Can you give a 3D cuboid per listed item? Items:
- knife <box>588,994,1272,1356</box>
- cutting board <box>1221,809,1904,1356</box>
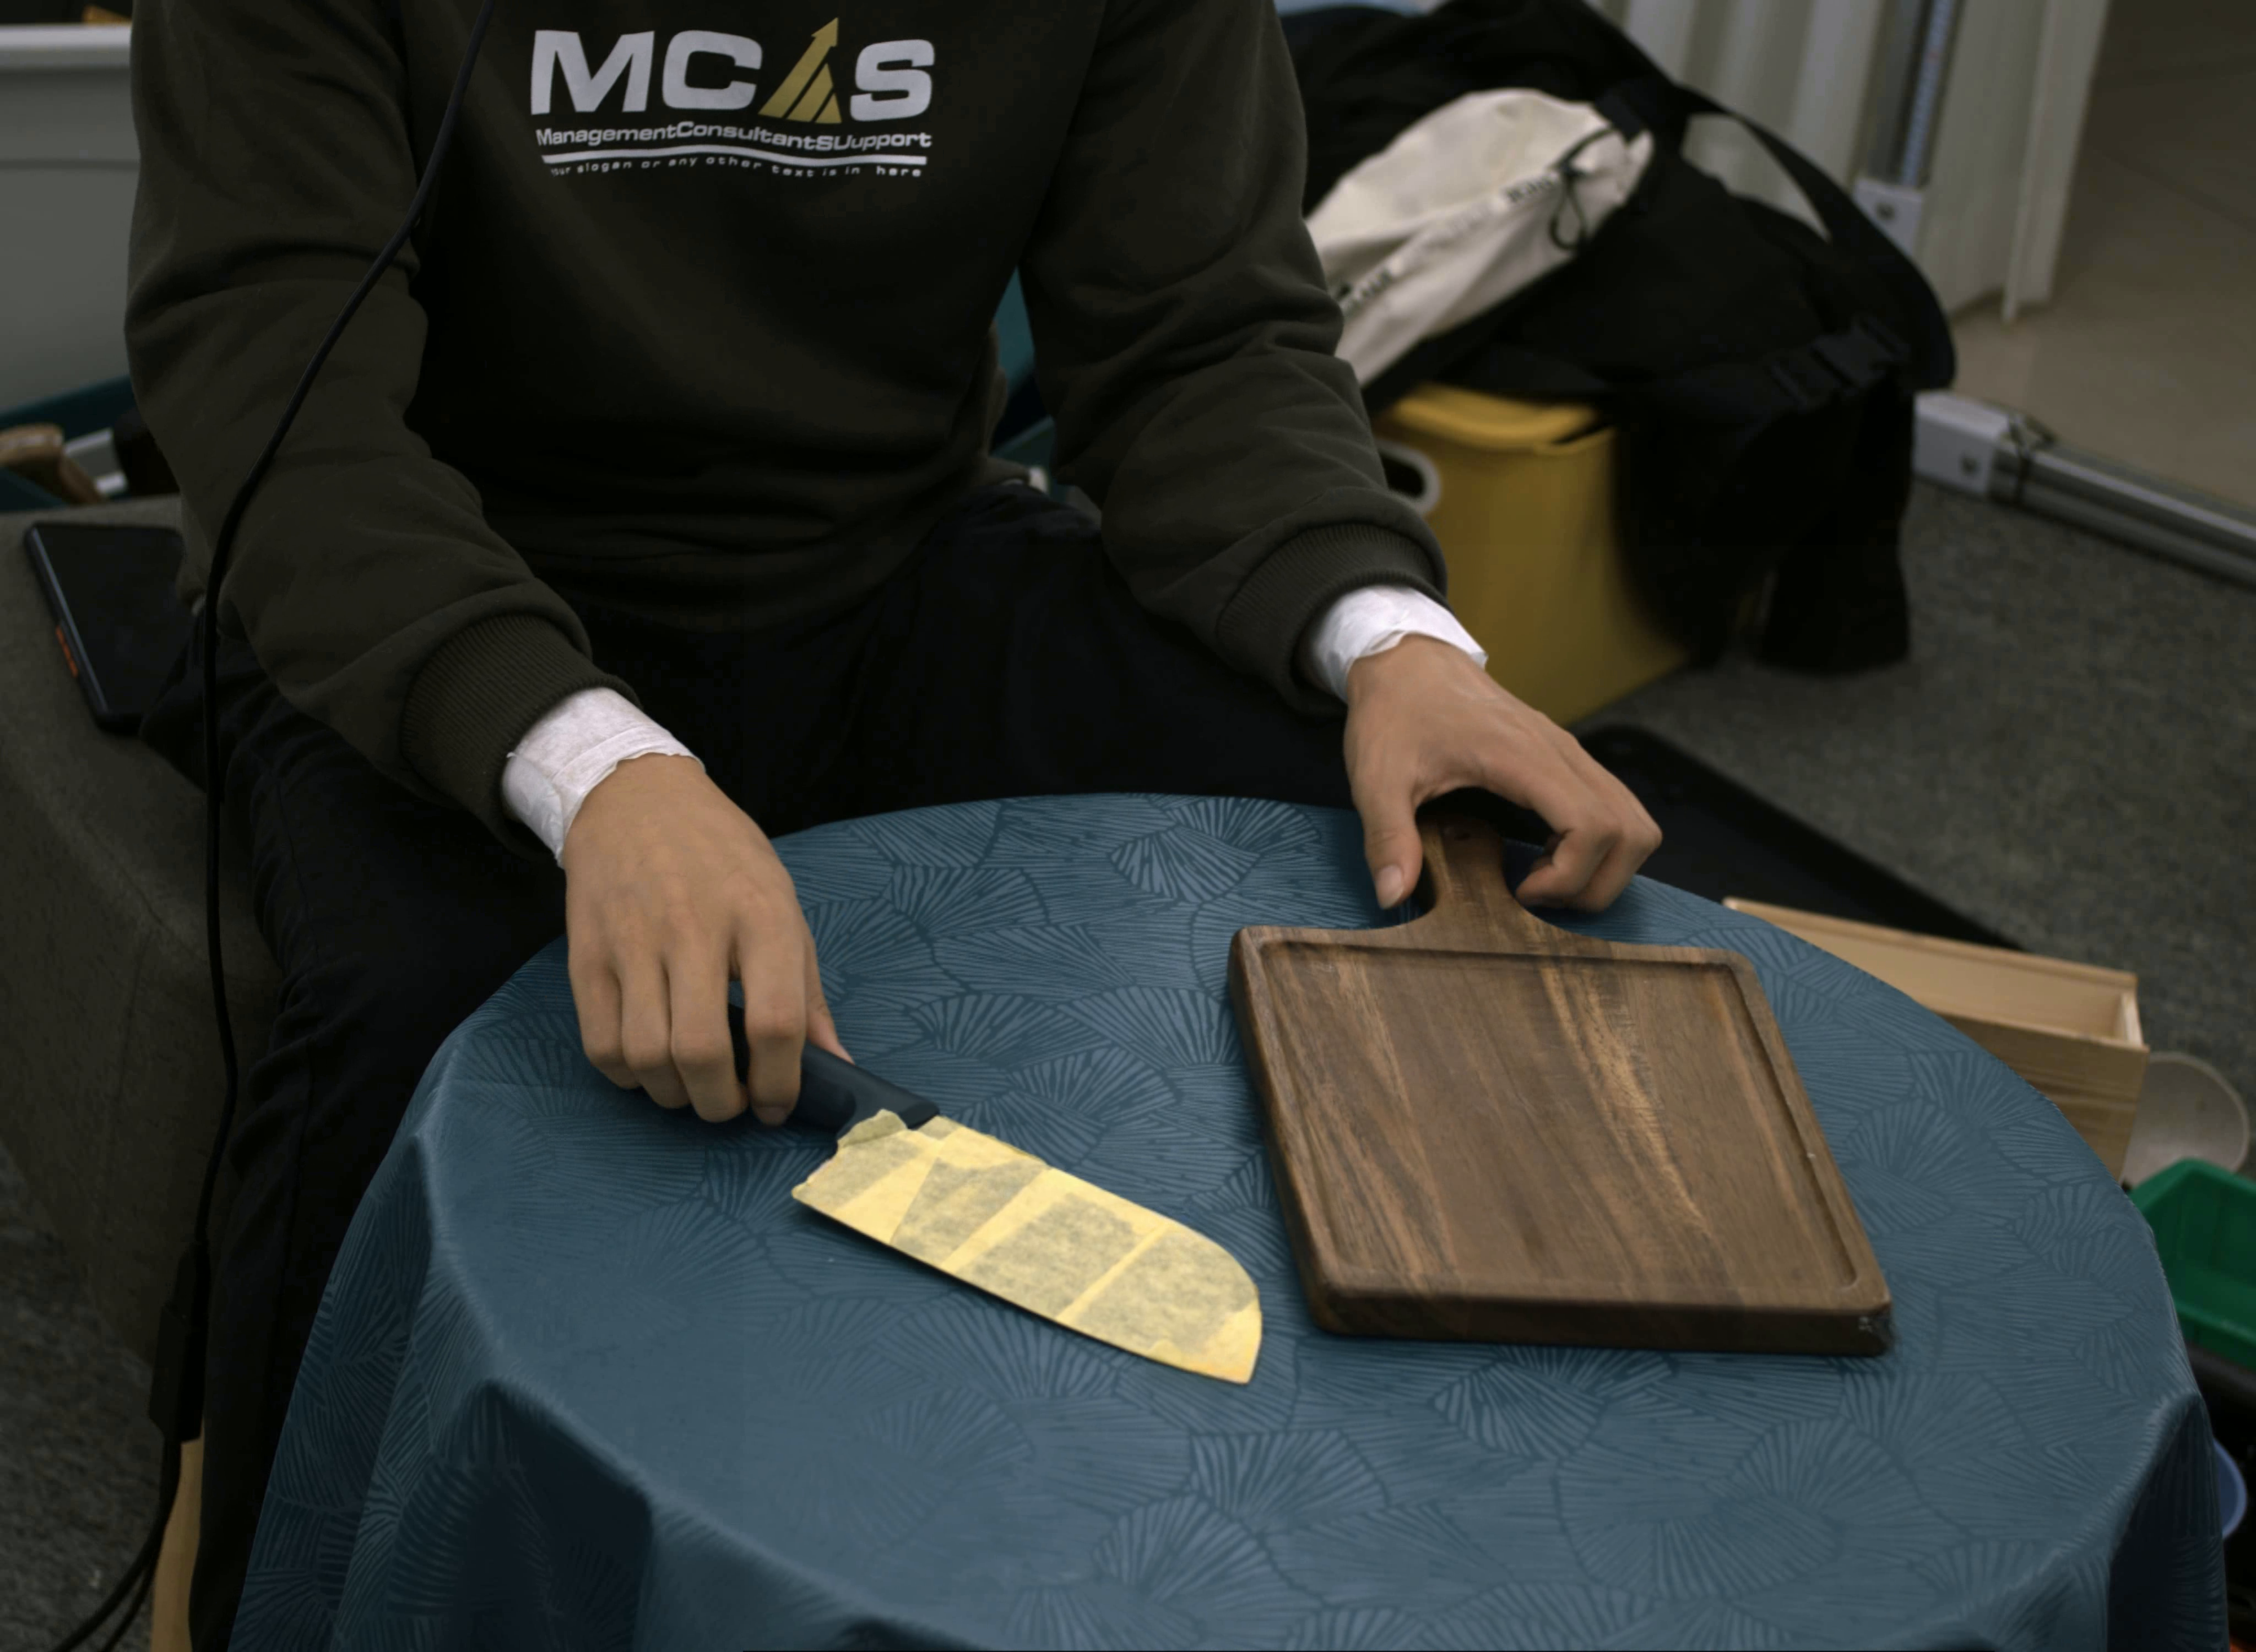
[{"bbox_3d":[-0.074,0.118,1.785,0.291,0.027,0.081,23,32,28],"label":"knife"},{"bbox_3d":[0.140,0.083,1.894,0.200,0.023,0.355,3,27,-8],"label":"cutting board"}]
